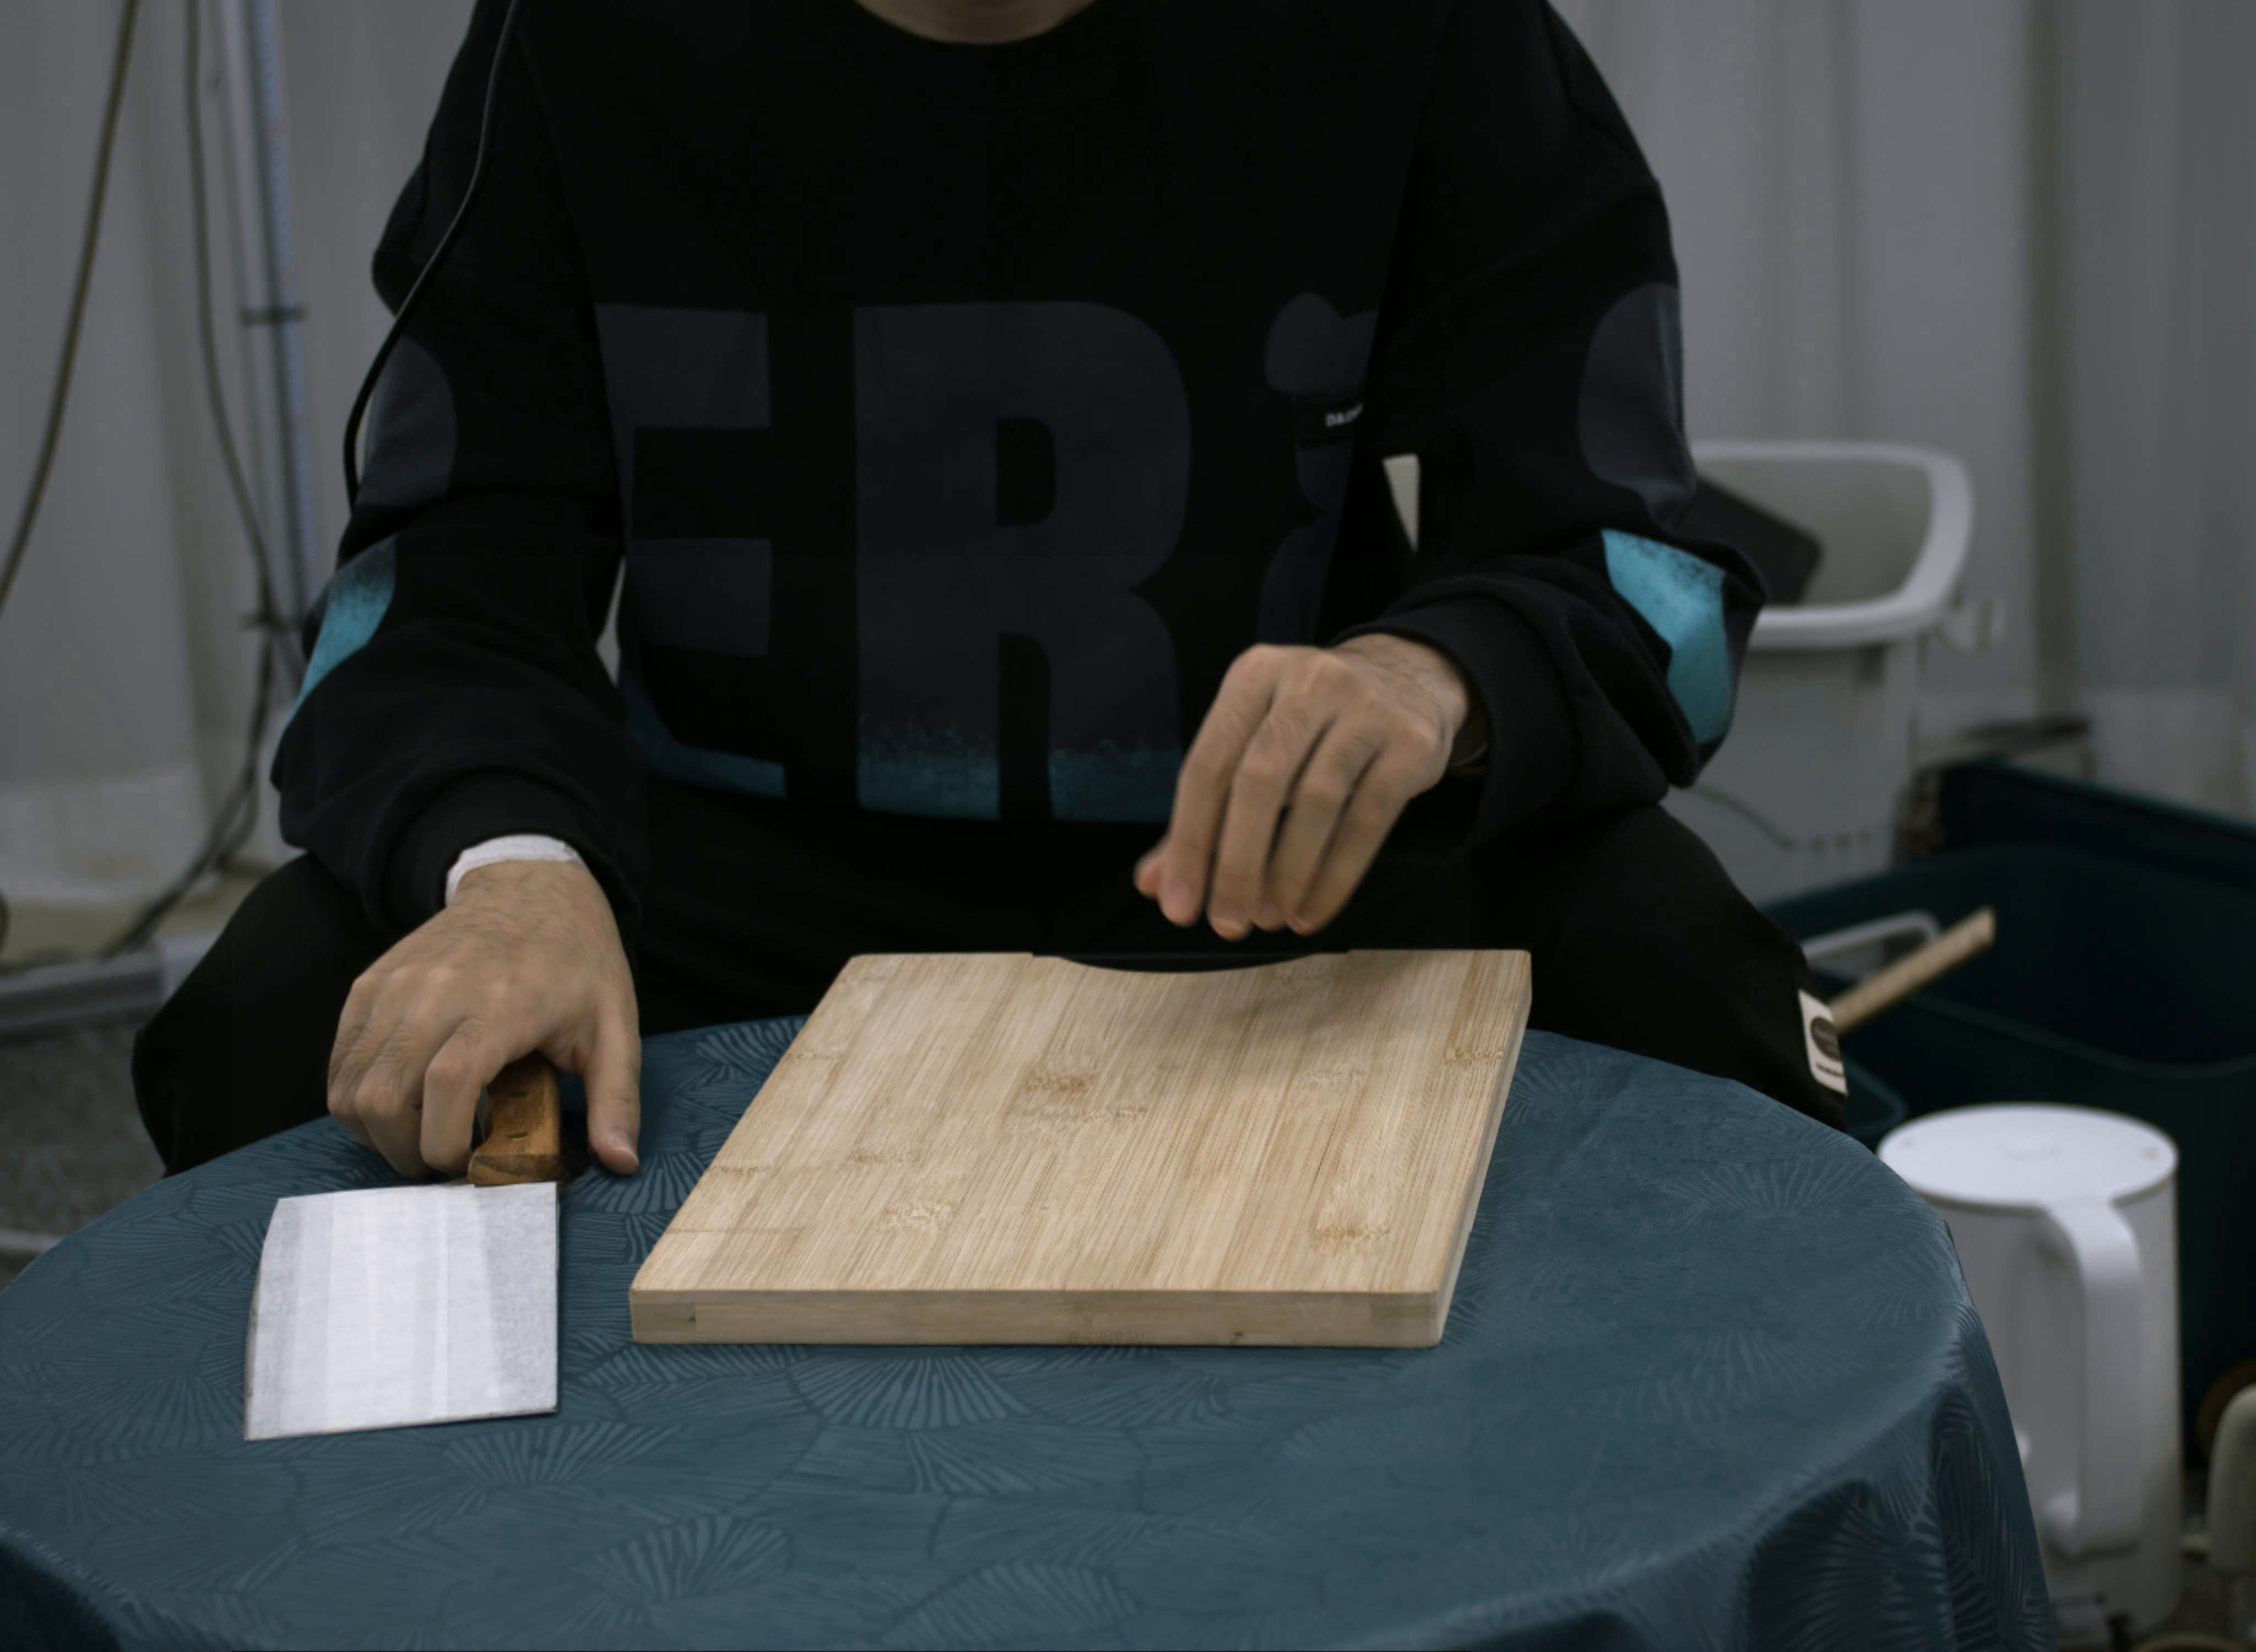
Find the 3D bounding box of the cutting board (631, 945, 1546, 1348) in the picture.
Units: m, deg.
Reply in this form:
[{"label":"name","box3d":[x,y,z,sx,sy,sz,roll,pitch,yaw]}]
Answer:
[{"label":"cutting board","box3d":[-0.001,0.097,1.749,0.250,0.023,0.350,-1,15,8]}]

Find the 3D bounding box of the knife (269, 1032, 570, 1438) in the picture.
[{"label":"knife","box3d":[-0.219,0.125,1.691,0.092,0.021,0.308,-6,17,-4]}]
